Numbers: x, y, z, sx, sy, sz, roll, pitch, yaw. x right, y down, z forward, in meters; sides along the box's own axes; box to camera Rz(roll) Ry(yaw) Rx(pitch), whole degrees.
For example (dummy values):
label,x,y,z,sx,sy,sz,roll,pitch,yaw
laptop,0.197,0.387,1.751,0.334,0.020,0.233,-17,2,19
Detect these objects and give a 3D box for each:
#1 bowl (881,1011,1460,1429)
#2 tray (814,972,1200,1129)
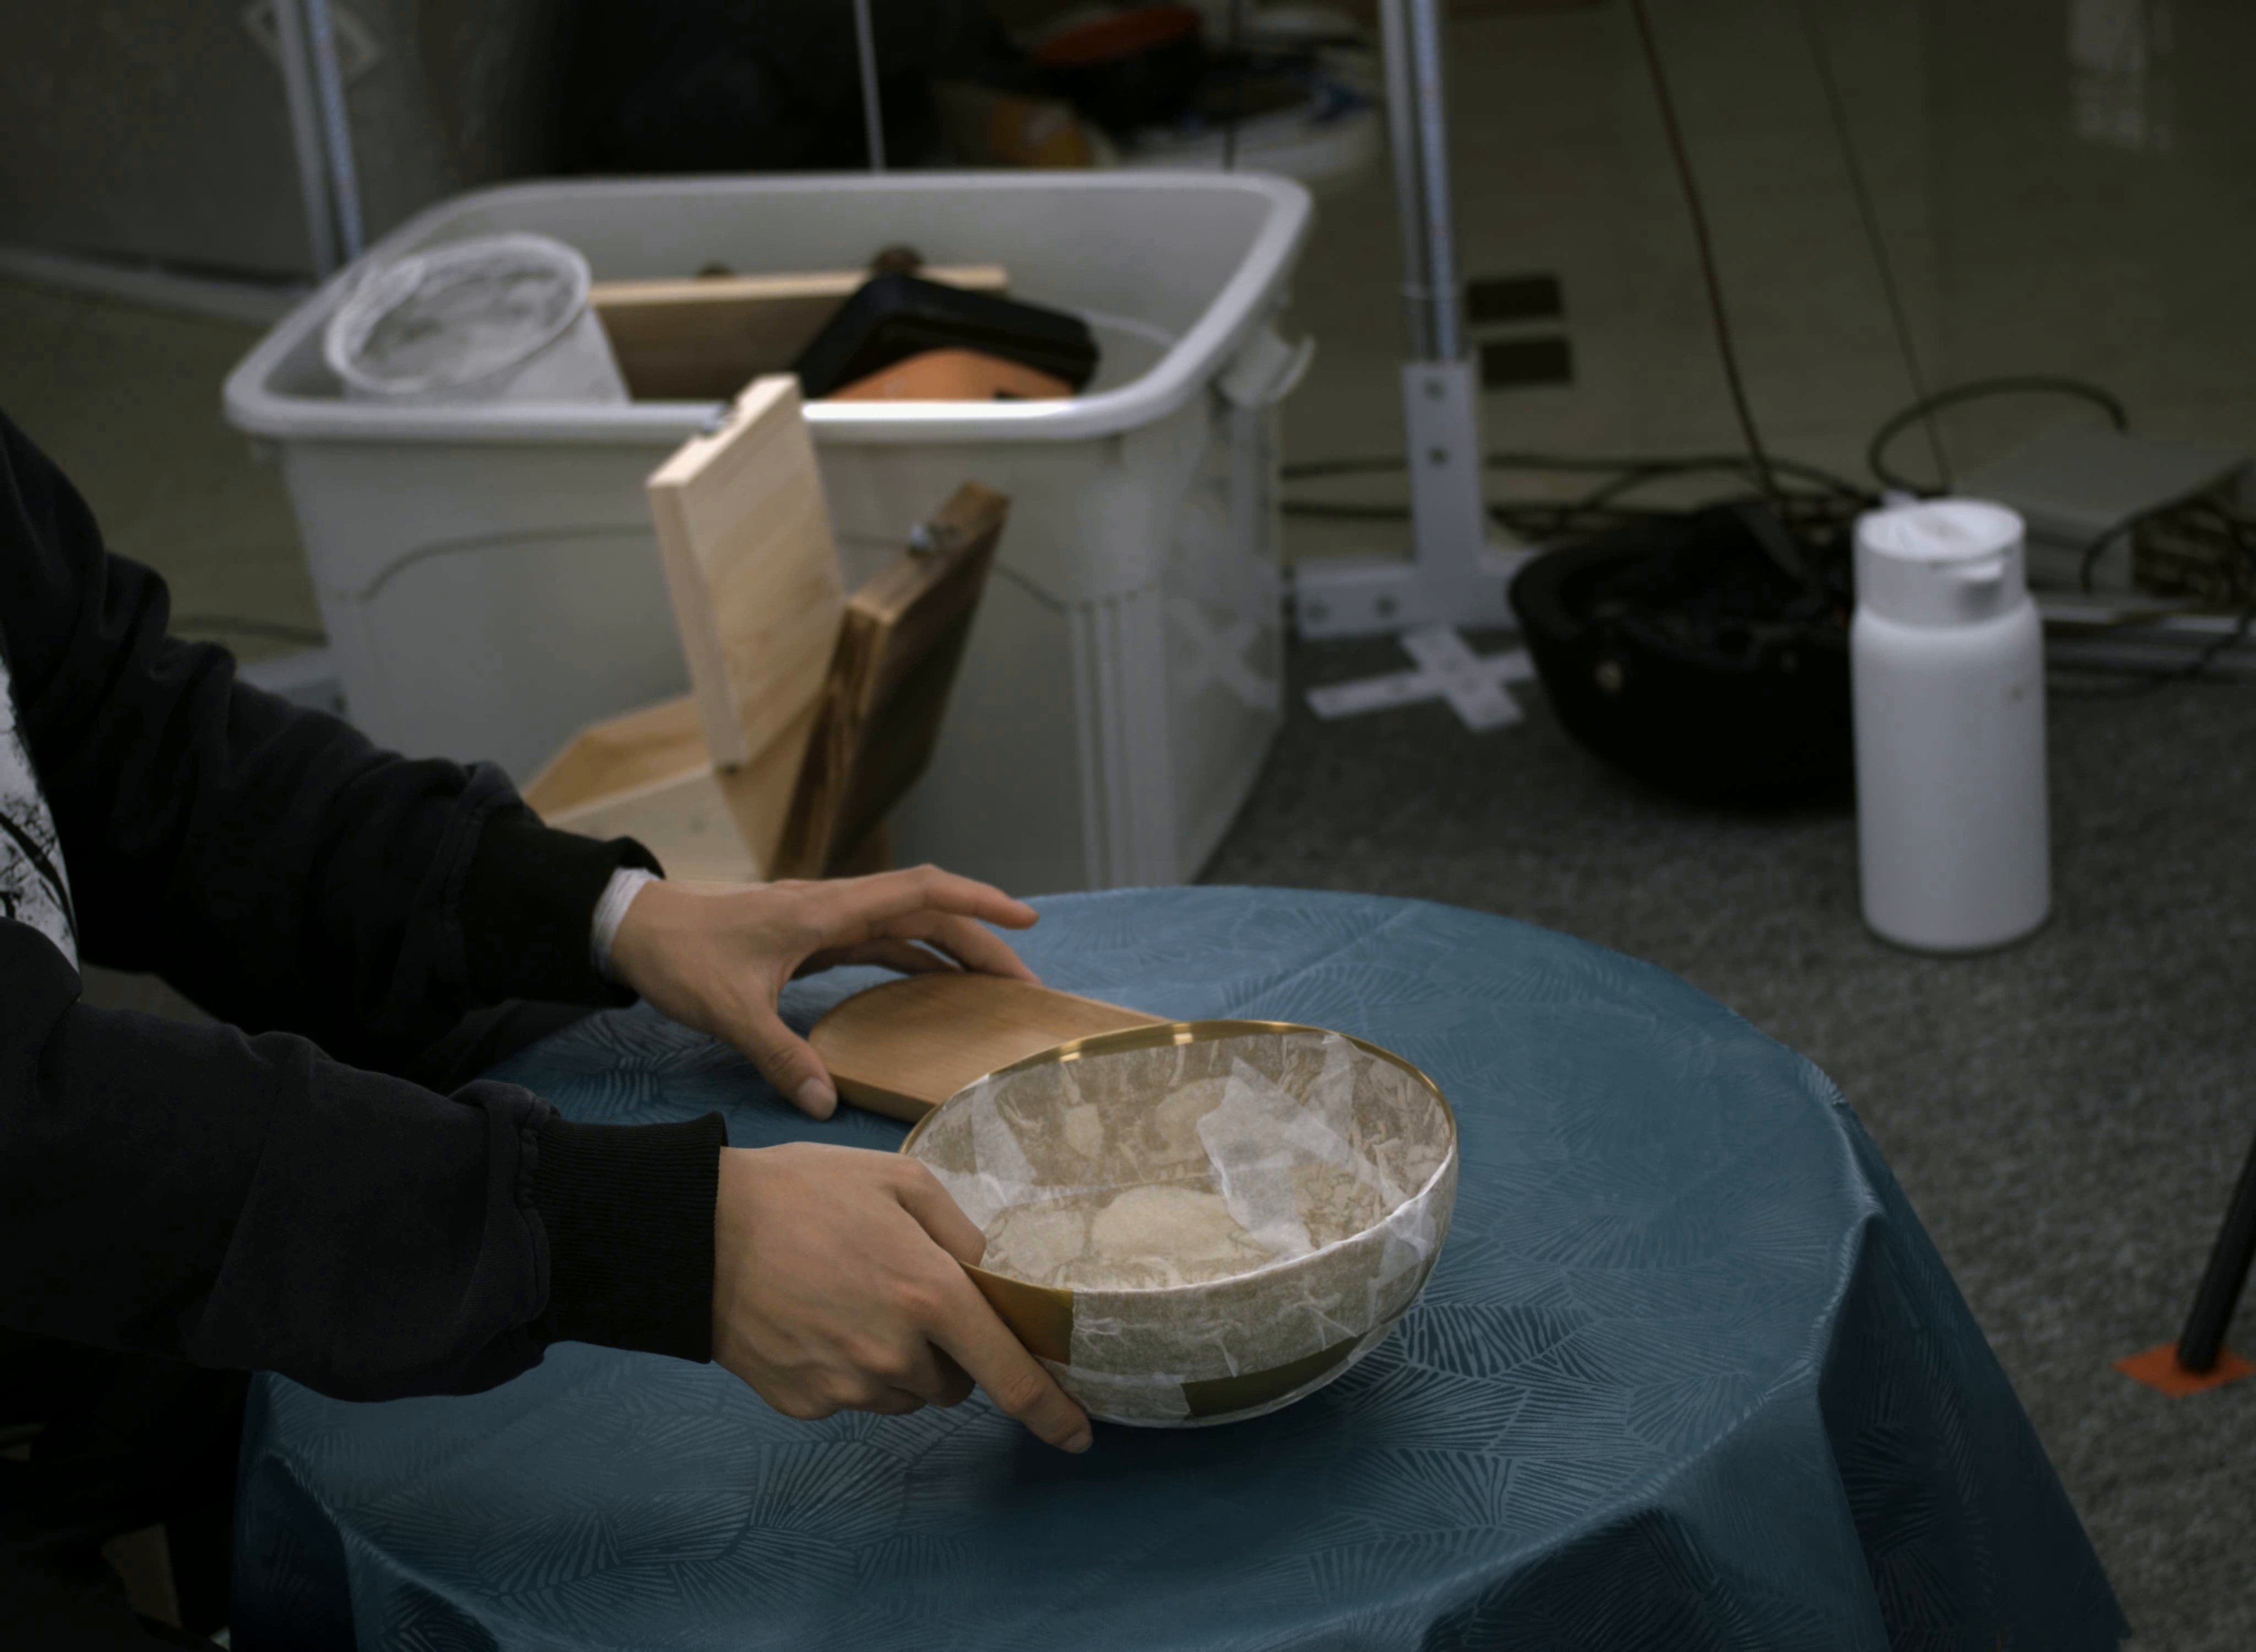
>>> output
label,x,y,z,sx,sy,sz,roll,pitch,yaw
bowl,0.020,0.150,2.010,0.214,0.096,0.211,-6,26,3
tray,-0.023,0.100,2.224,0.230,0.020,0.100,15,35,34
